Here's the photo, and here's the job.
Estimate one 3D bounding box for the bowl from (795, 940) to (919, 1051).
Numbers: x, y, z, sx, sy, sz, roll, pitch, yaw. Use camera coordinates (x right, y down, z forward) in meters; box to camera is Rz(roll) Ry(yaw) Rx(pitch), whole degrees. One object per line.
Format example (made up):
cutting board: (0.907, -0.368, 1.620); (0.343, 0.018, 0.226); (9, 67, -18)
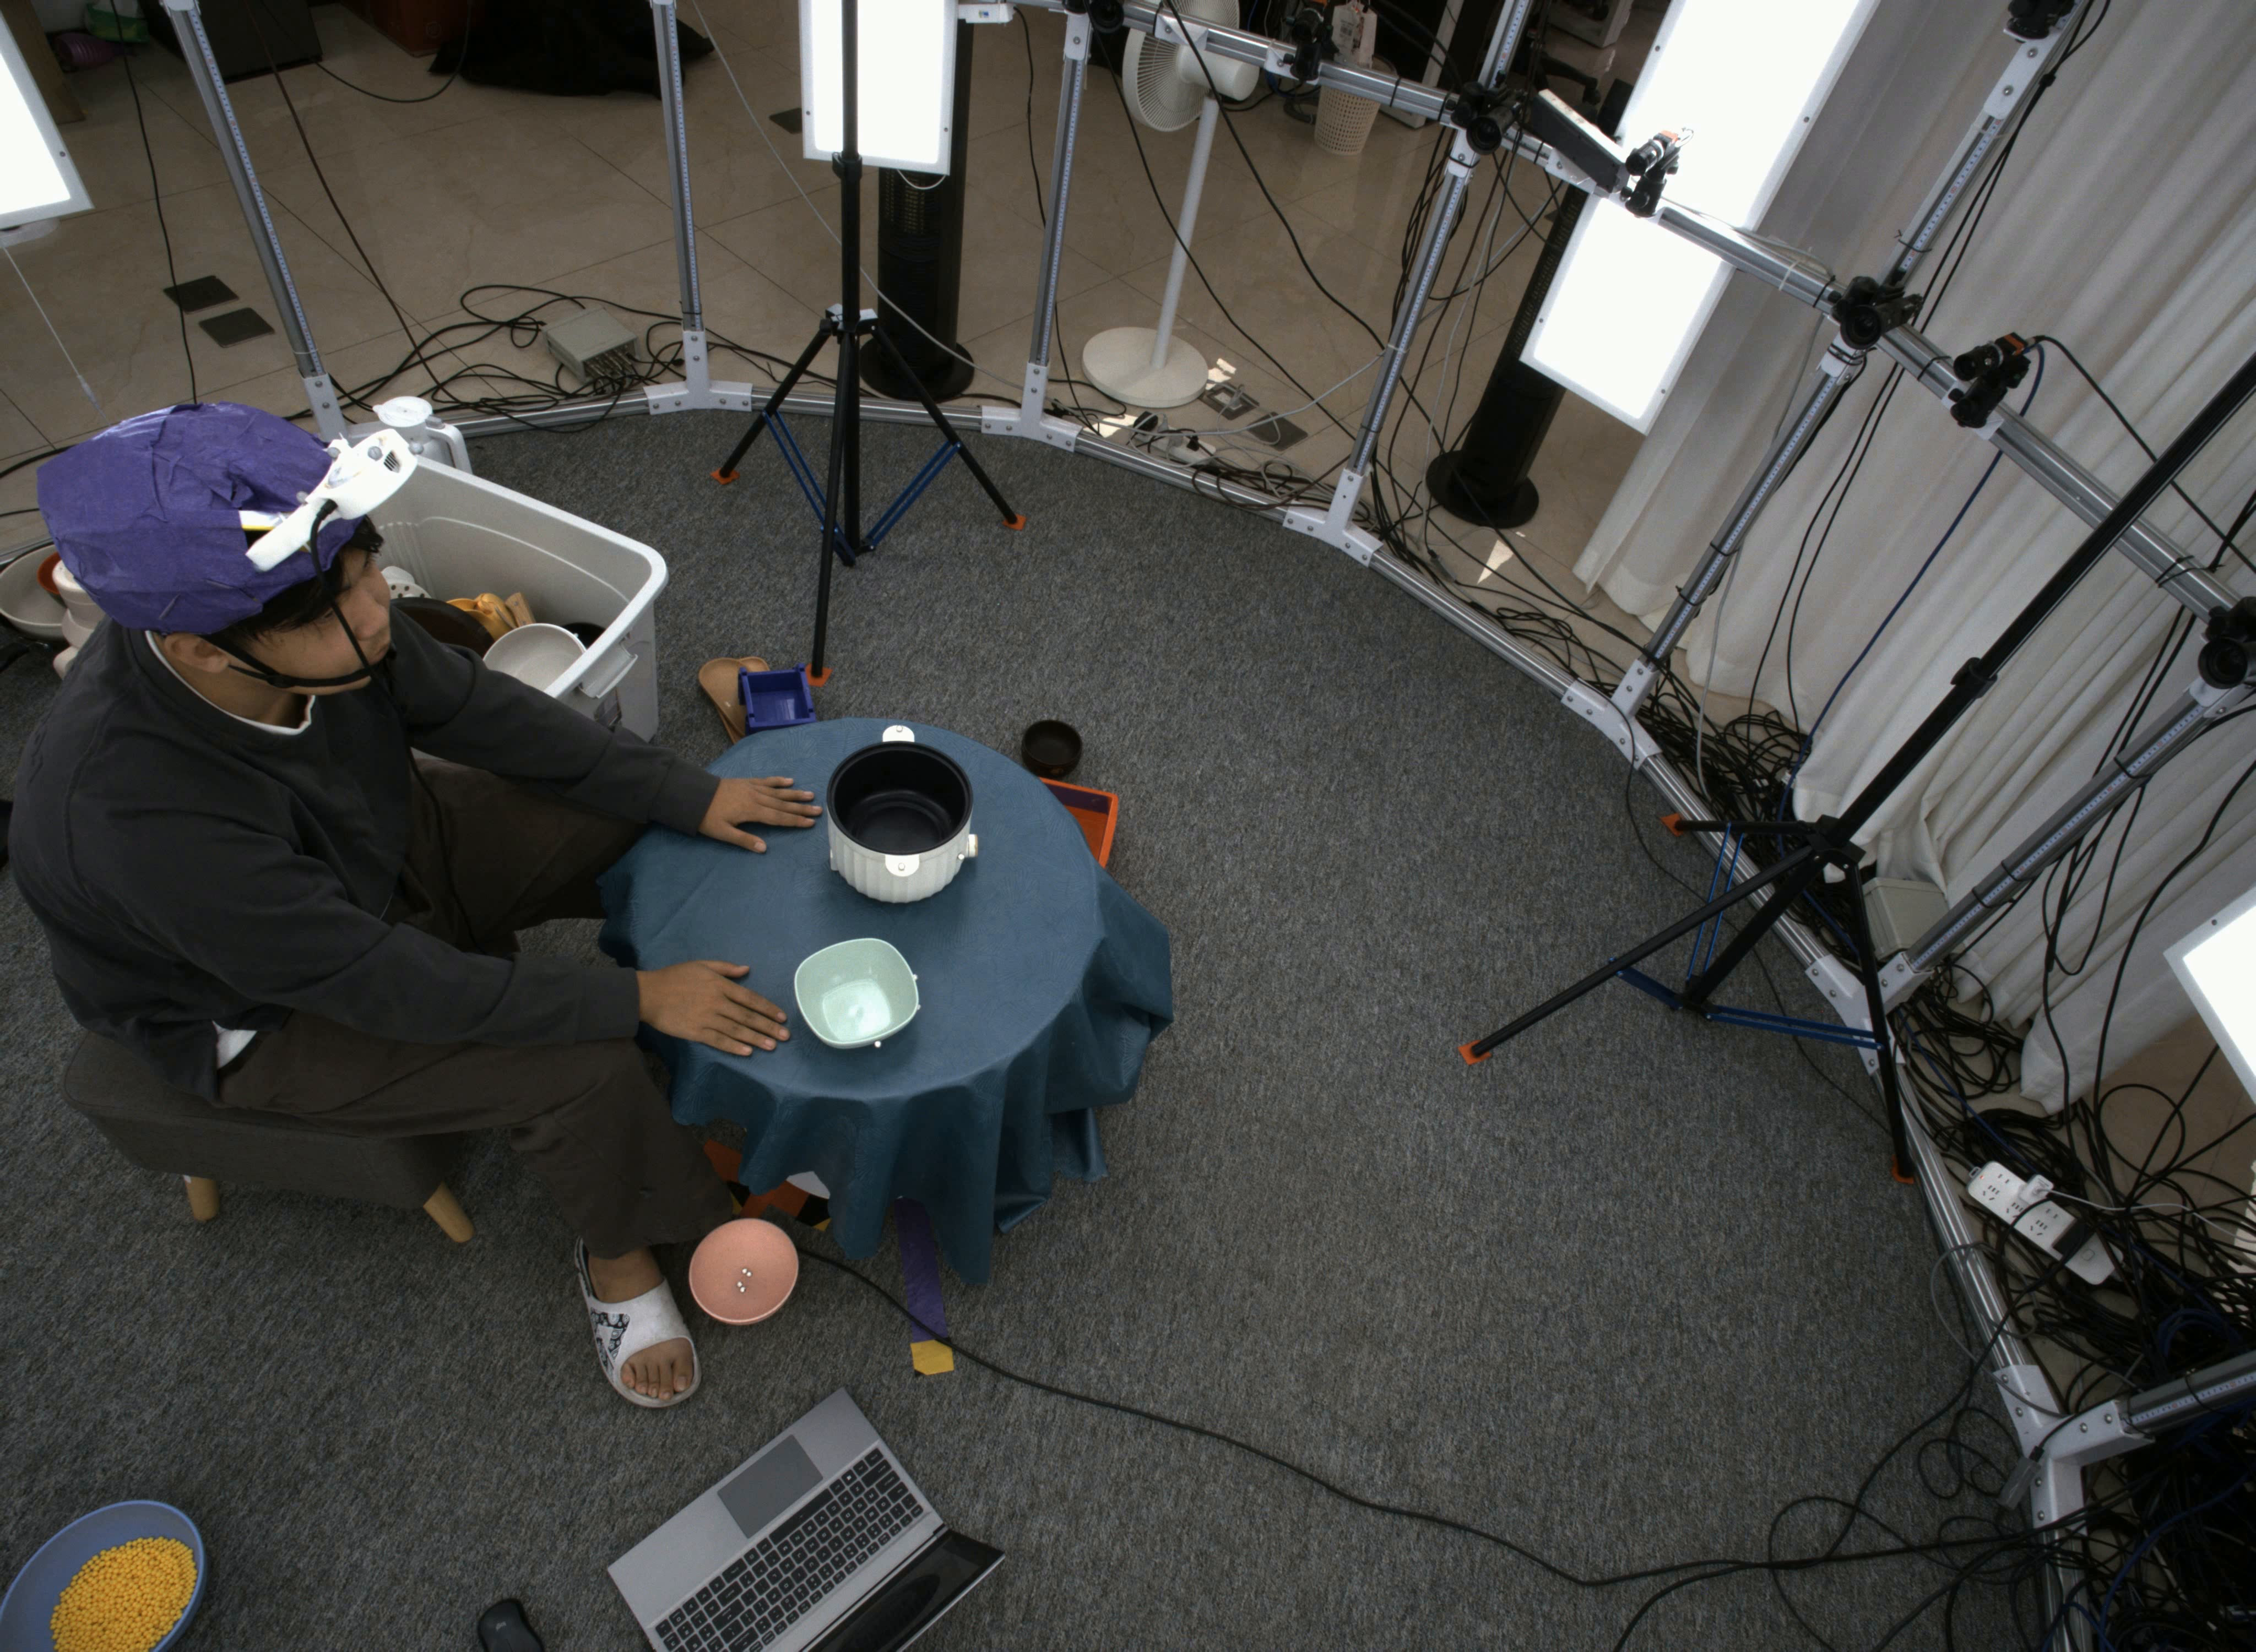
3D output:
bowl: (-0.324, 0.210, 1.552); (0.151, 0.060, 0.149); (9, 51, -9)

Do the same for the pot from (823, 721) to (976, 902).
pot: (-0.289, -0.003, 1.665); (0.190, 0.146, 0.235); (-4, 56, -11)
